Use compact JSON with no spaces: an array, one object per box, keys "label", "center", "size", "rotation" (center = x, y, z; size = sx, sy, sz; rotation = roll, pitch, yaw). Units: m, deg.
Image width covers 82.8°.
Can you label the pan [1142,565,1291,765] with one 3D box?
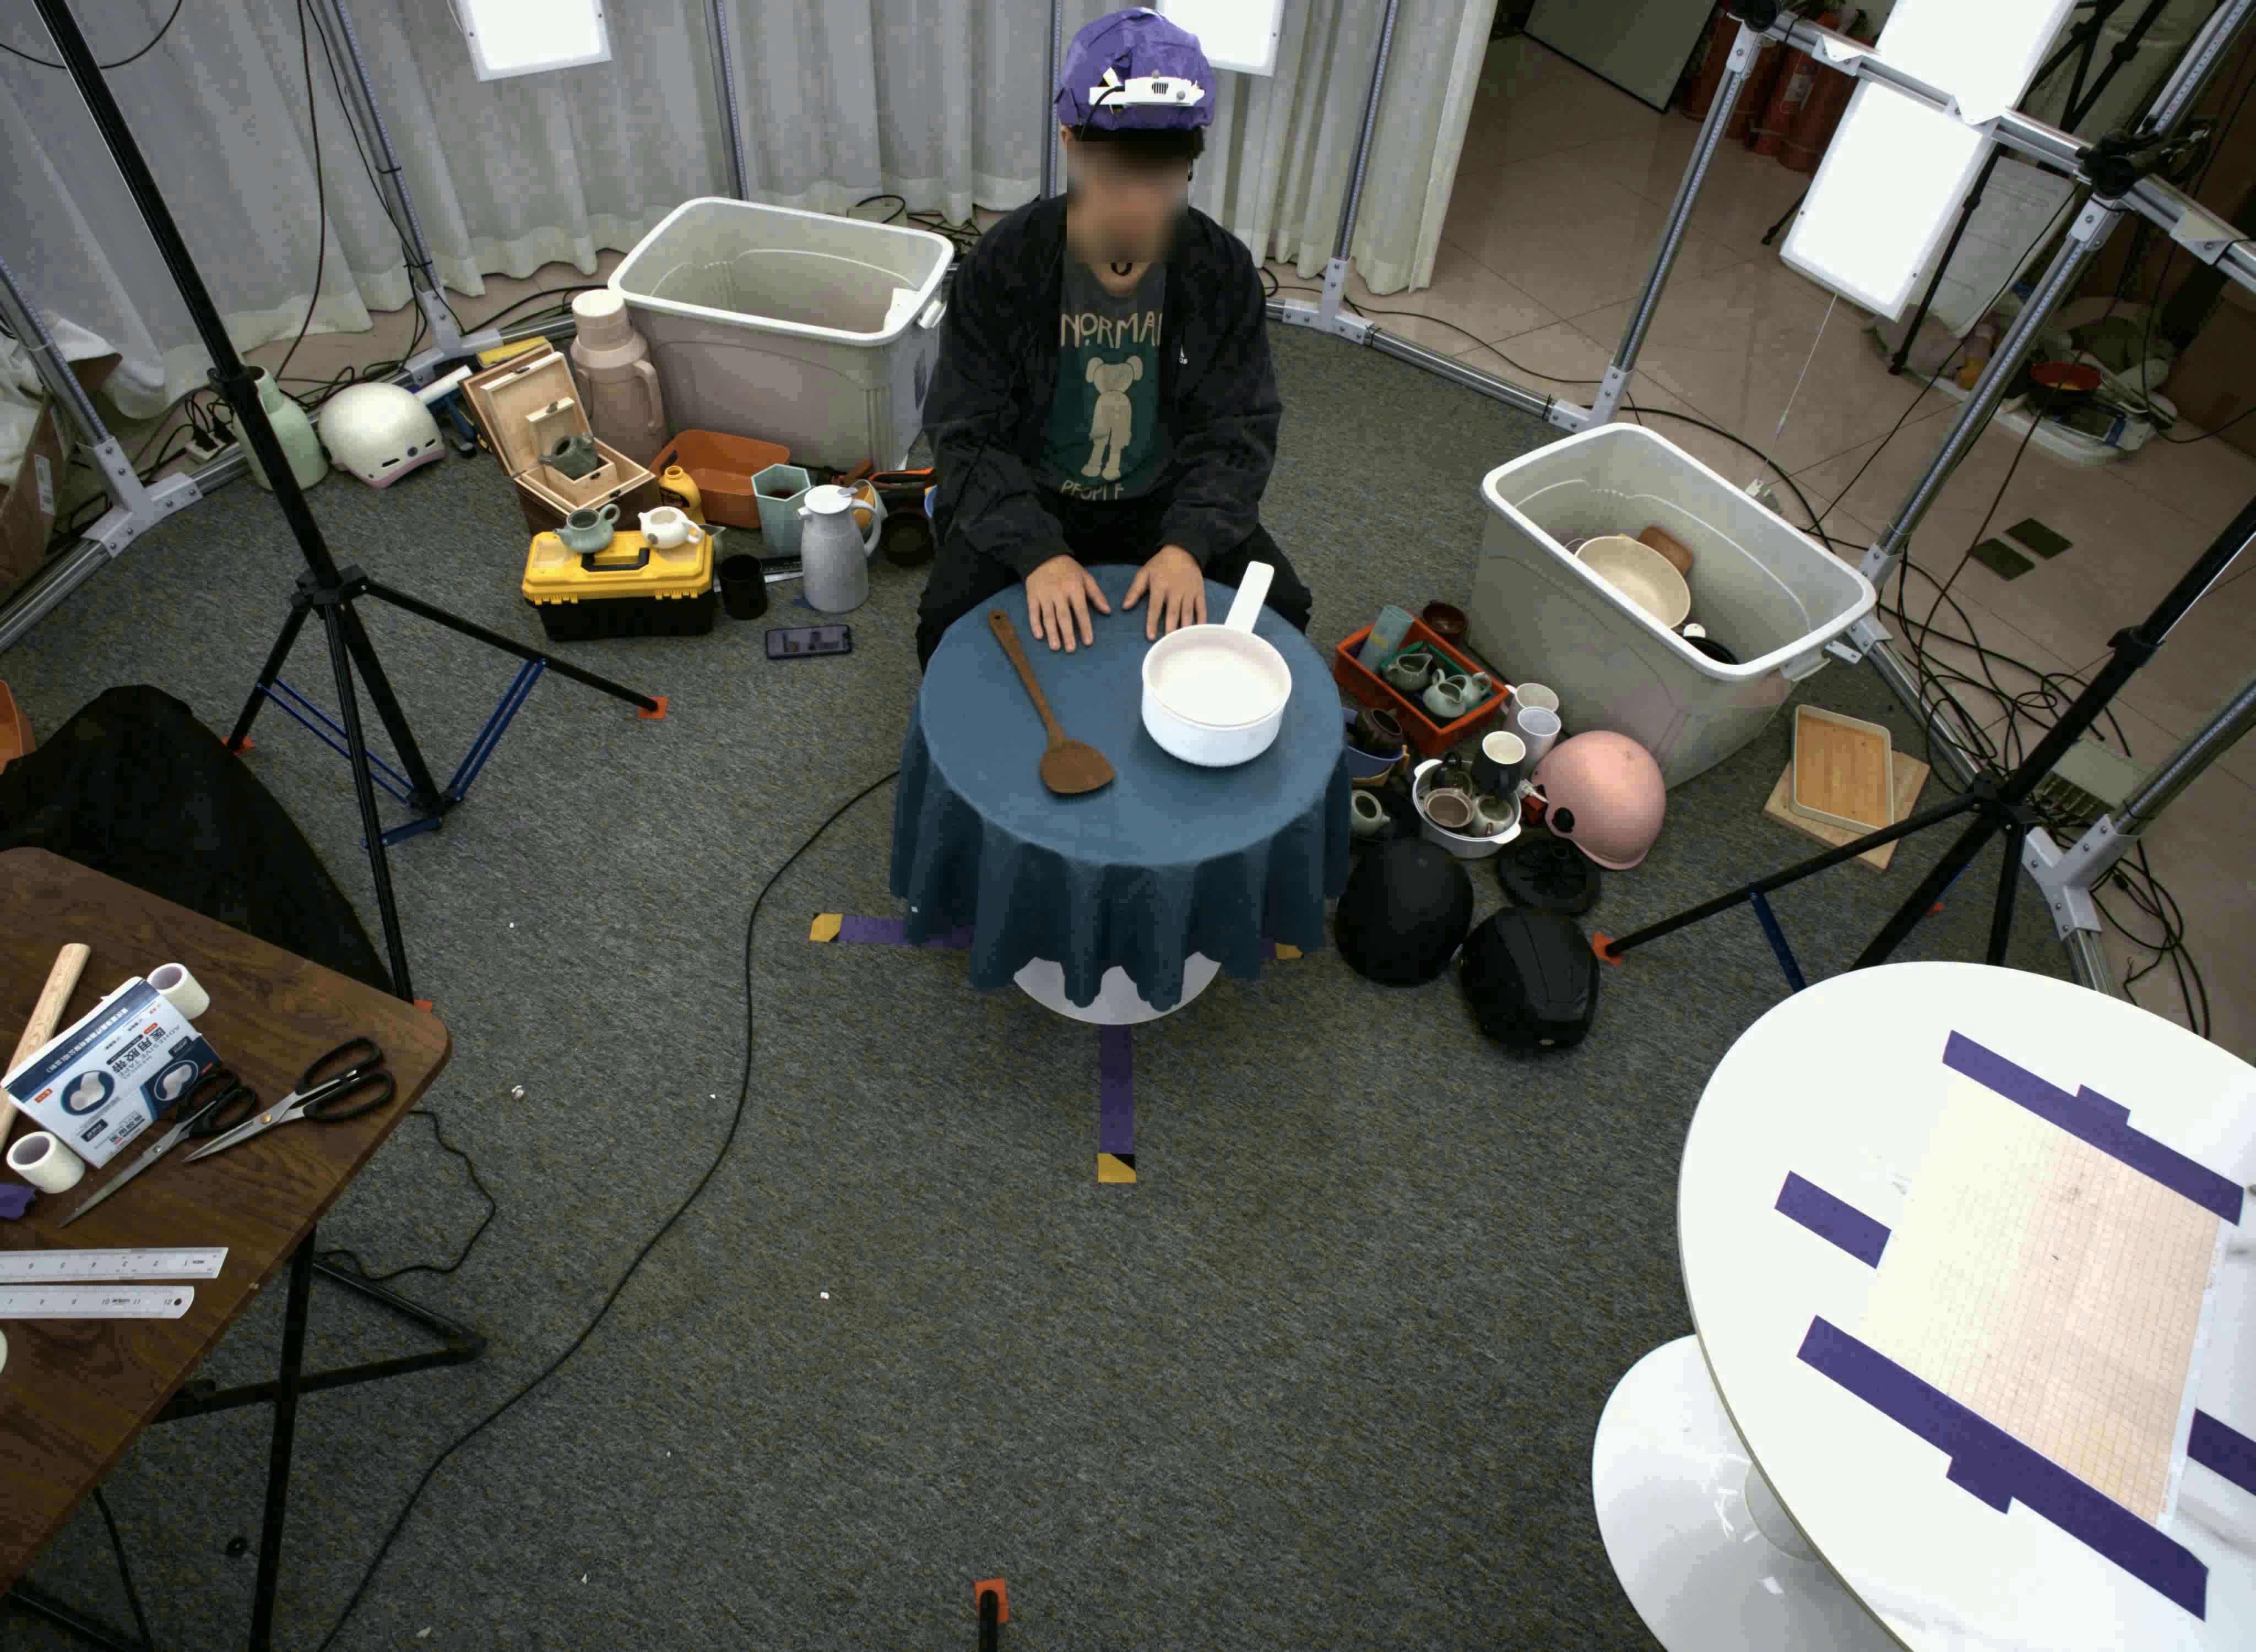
[{"label":"pan","center":[0.141,-0.229,1.812],"size":[0.202,0.099,0.362],"rotation":[15,48,10]}]

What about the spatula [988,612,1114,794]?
[{"label":"spatula","center":[-0.127,-0.184,1.809],"size":[0.096,0.015,0.395],"rotation":[-14,51,-17]}]
